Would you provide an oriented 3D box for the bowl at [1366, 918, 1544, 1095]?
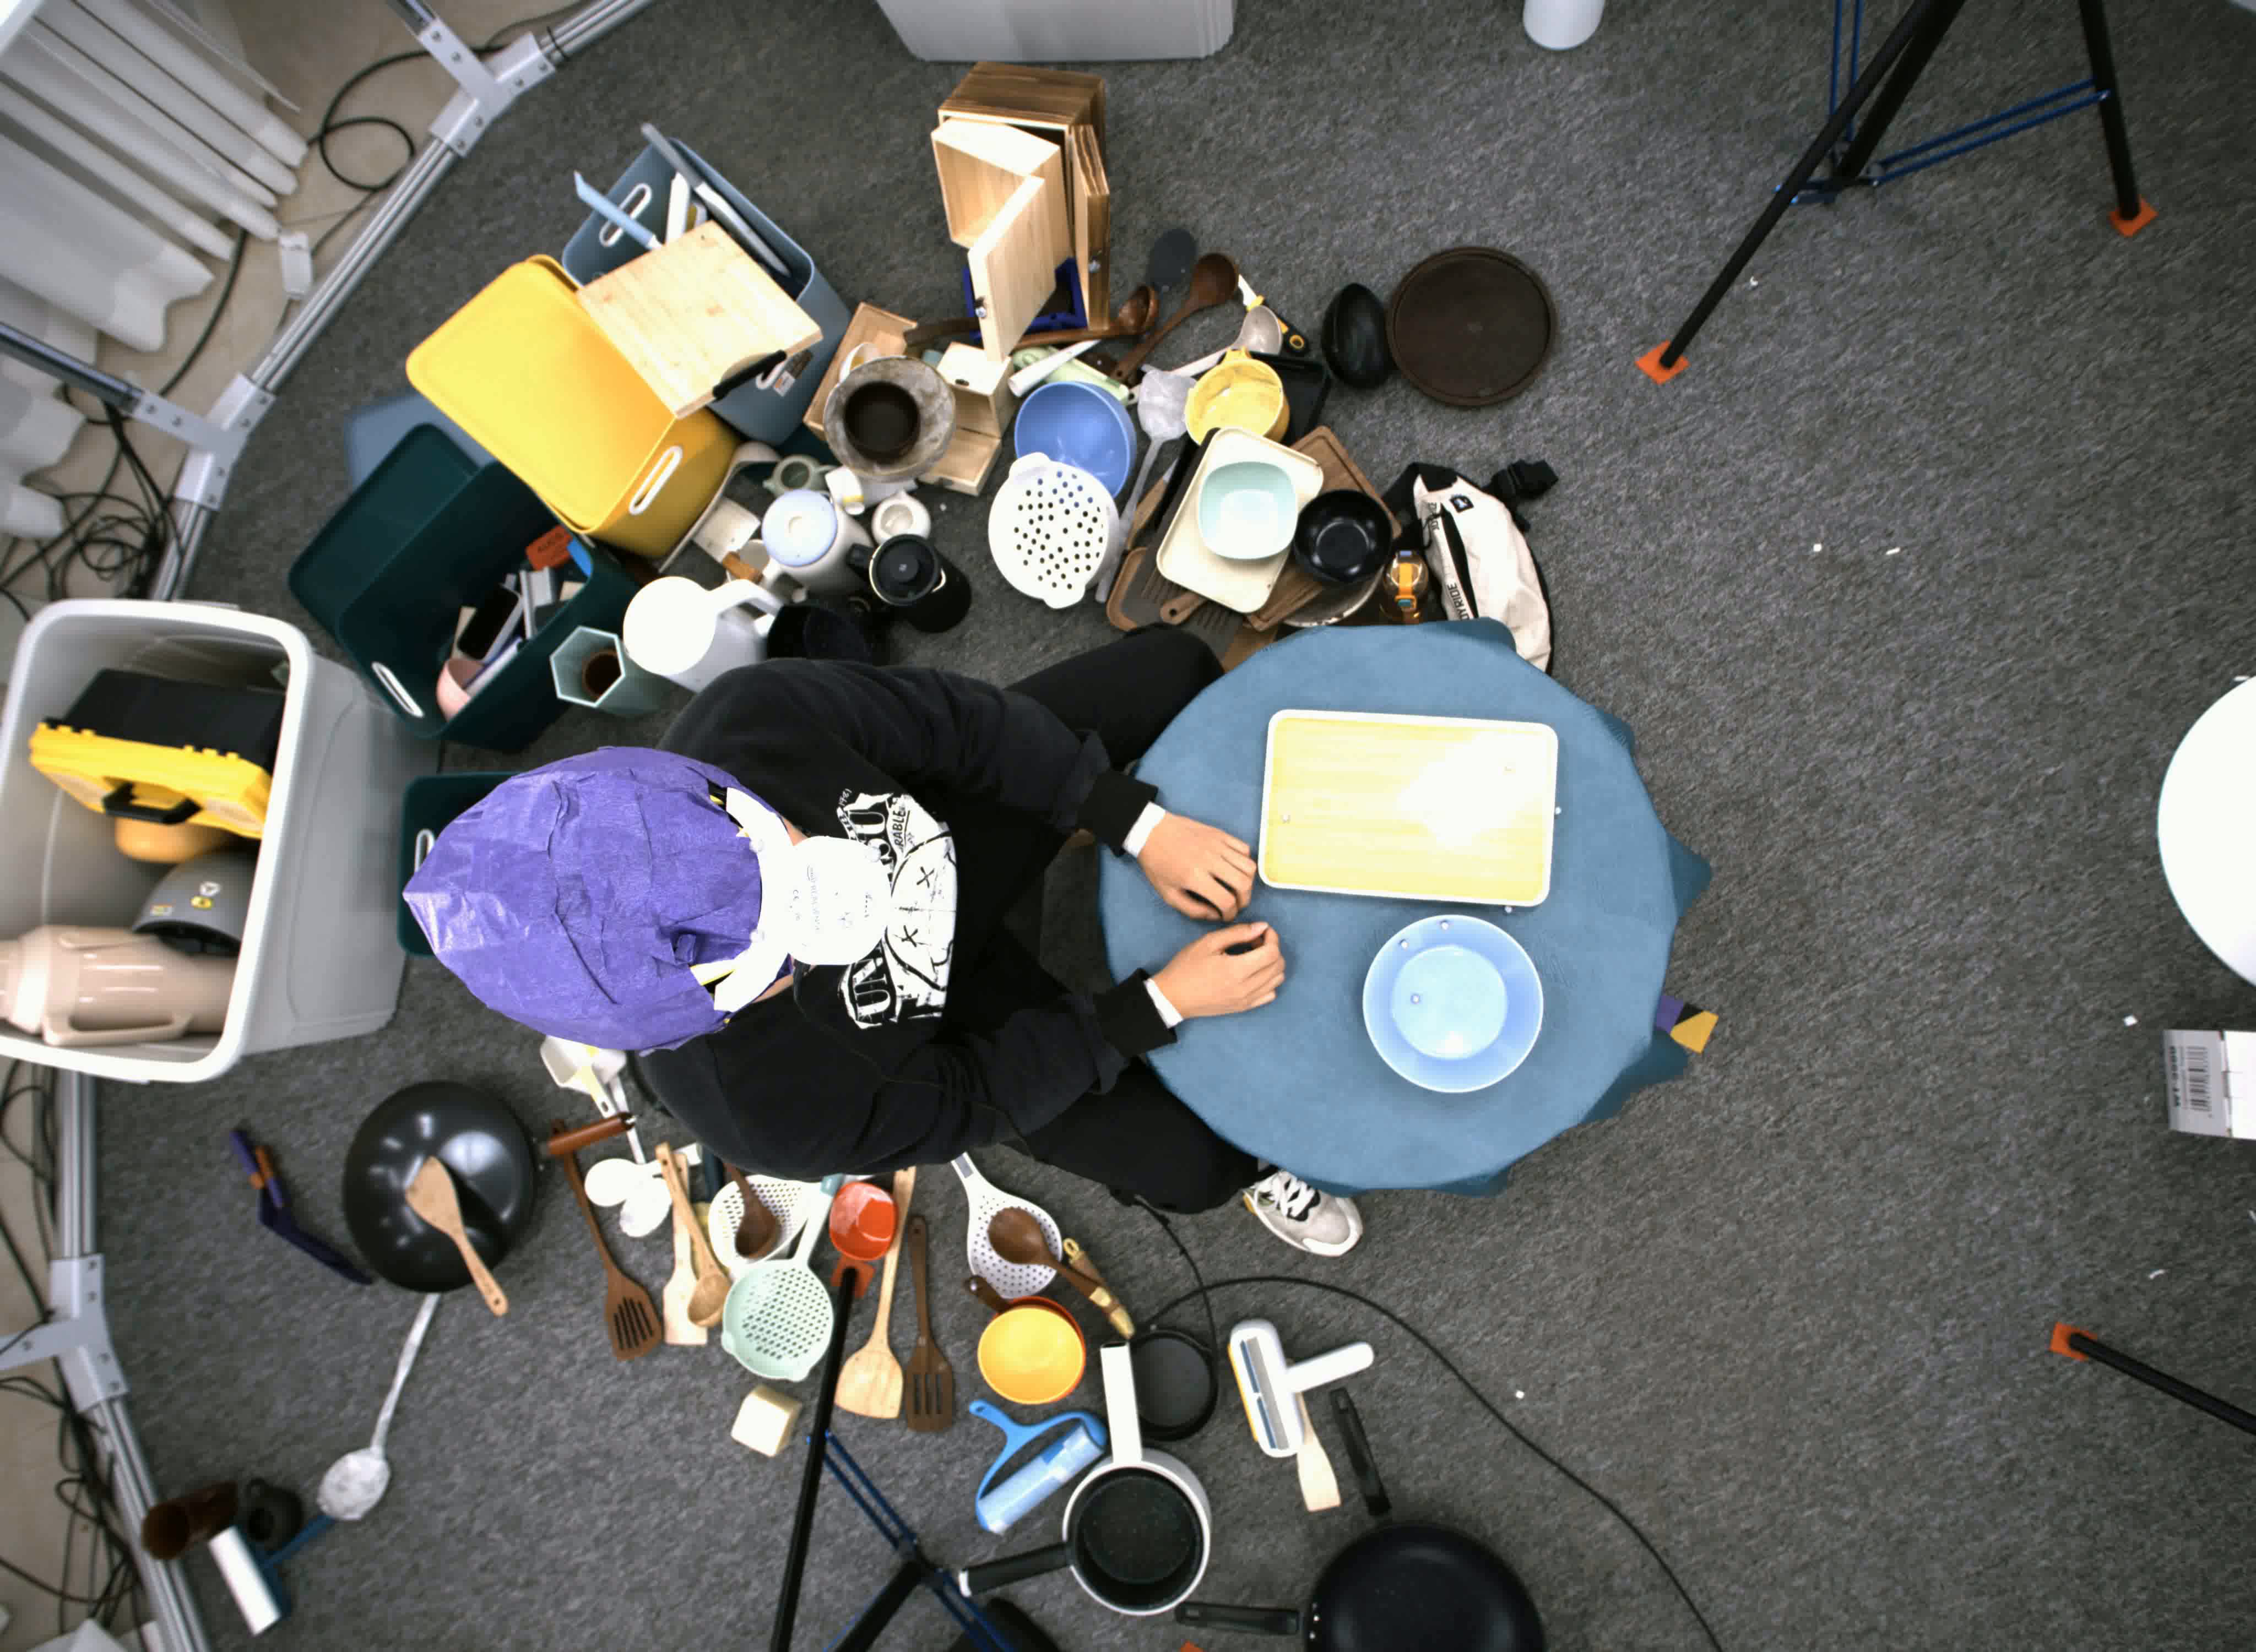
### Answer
[{"bbox_3d":[0.332,0.182,1.409,0.177,0.070,0.175,-1,84,10],"label":"bowl"}]

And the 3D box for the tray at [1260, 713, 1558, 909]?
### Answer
[{"bbox_3d":[0.295,-0.019,1.453,0.301,0.027,0.191,4,87,10],"label":"tray"}]
